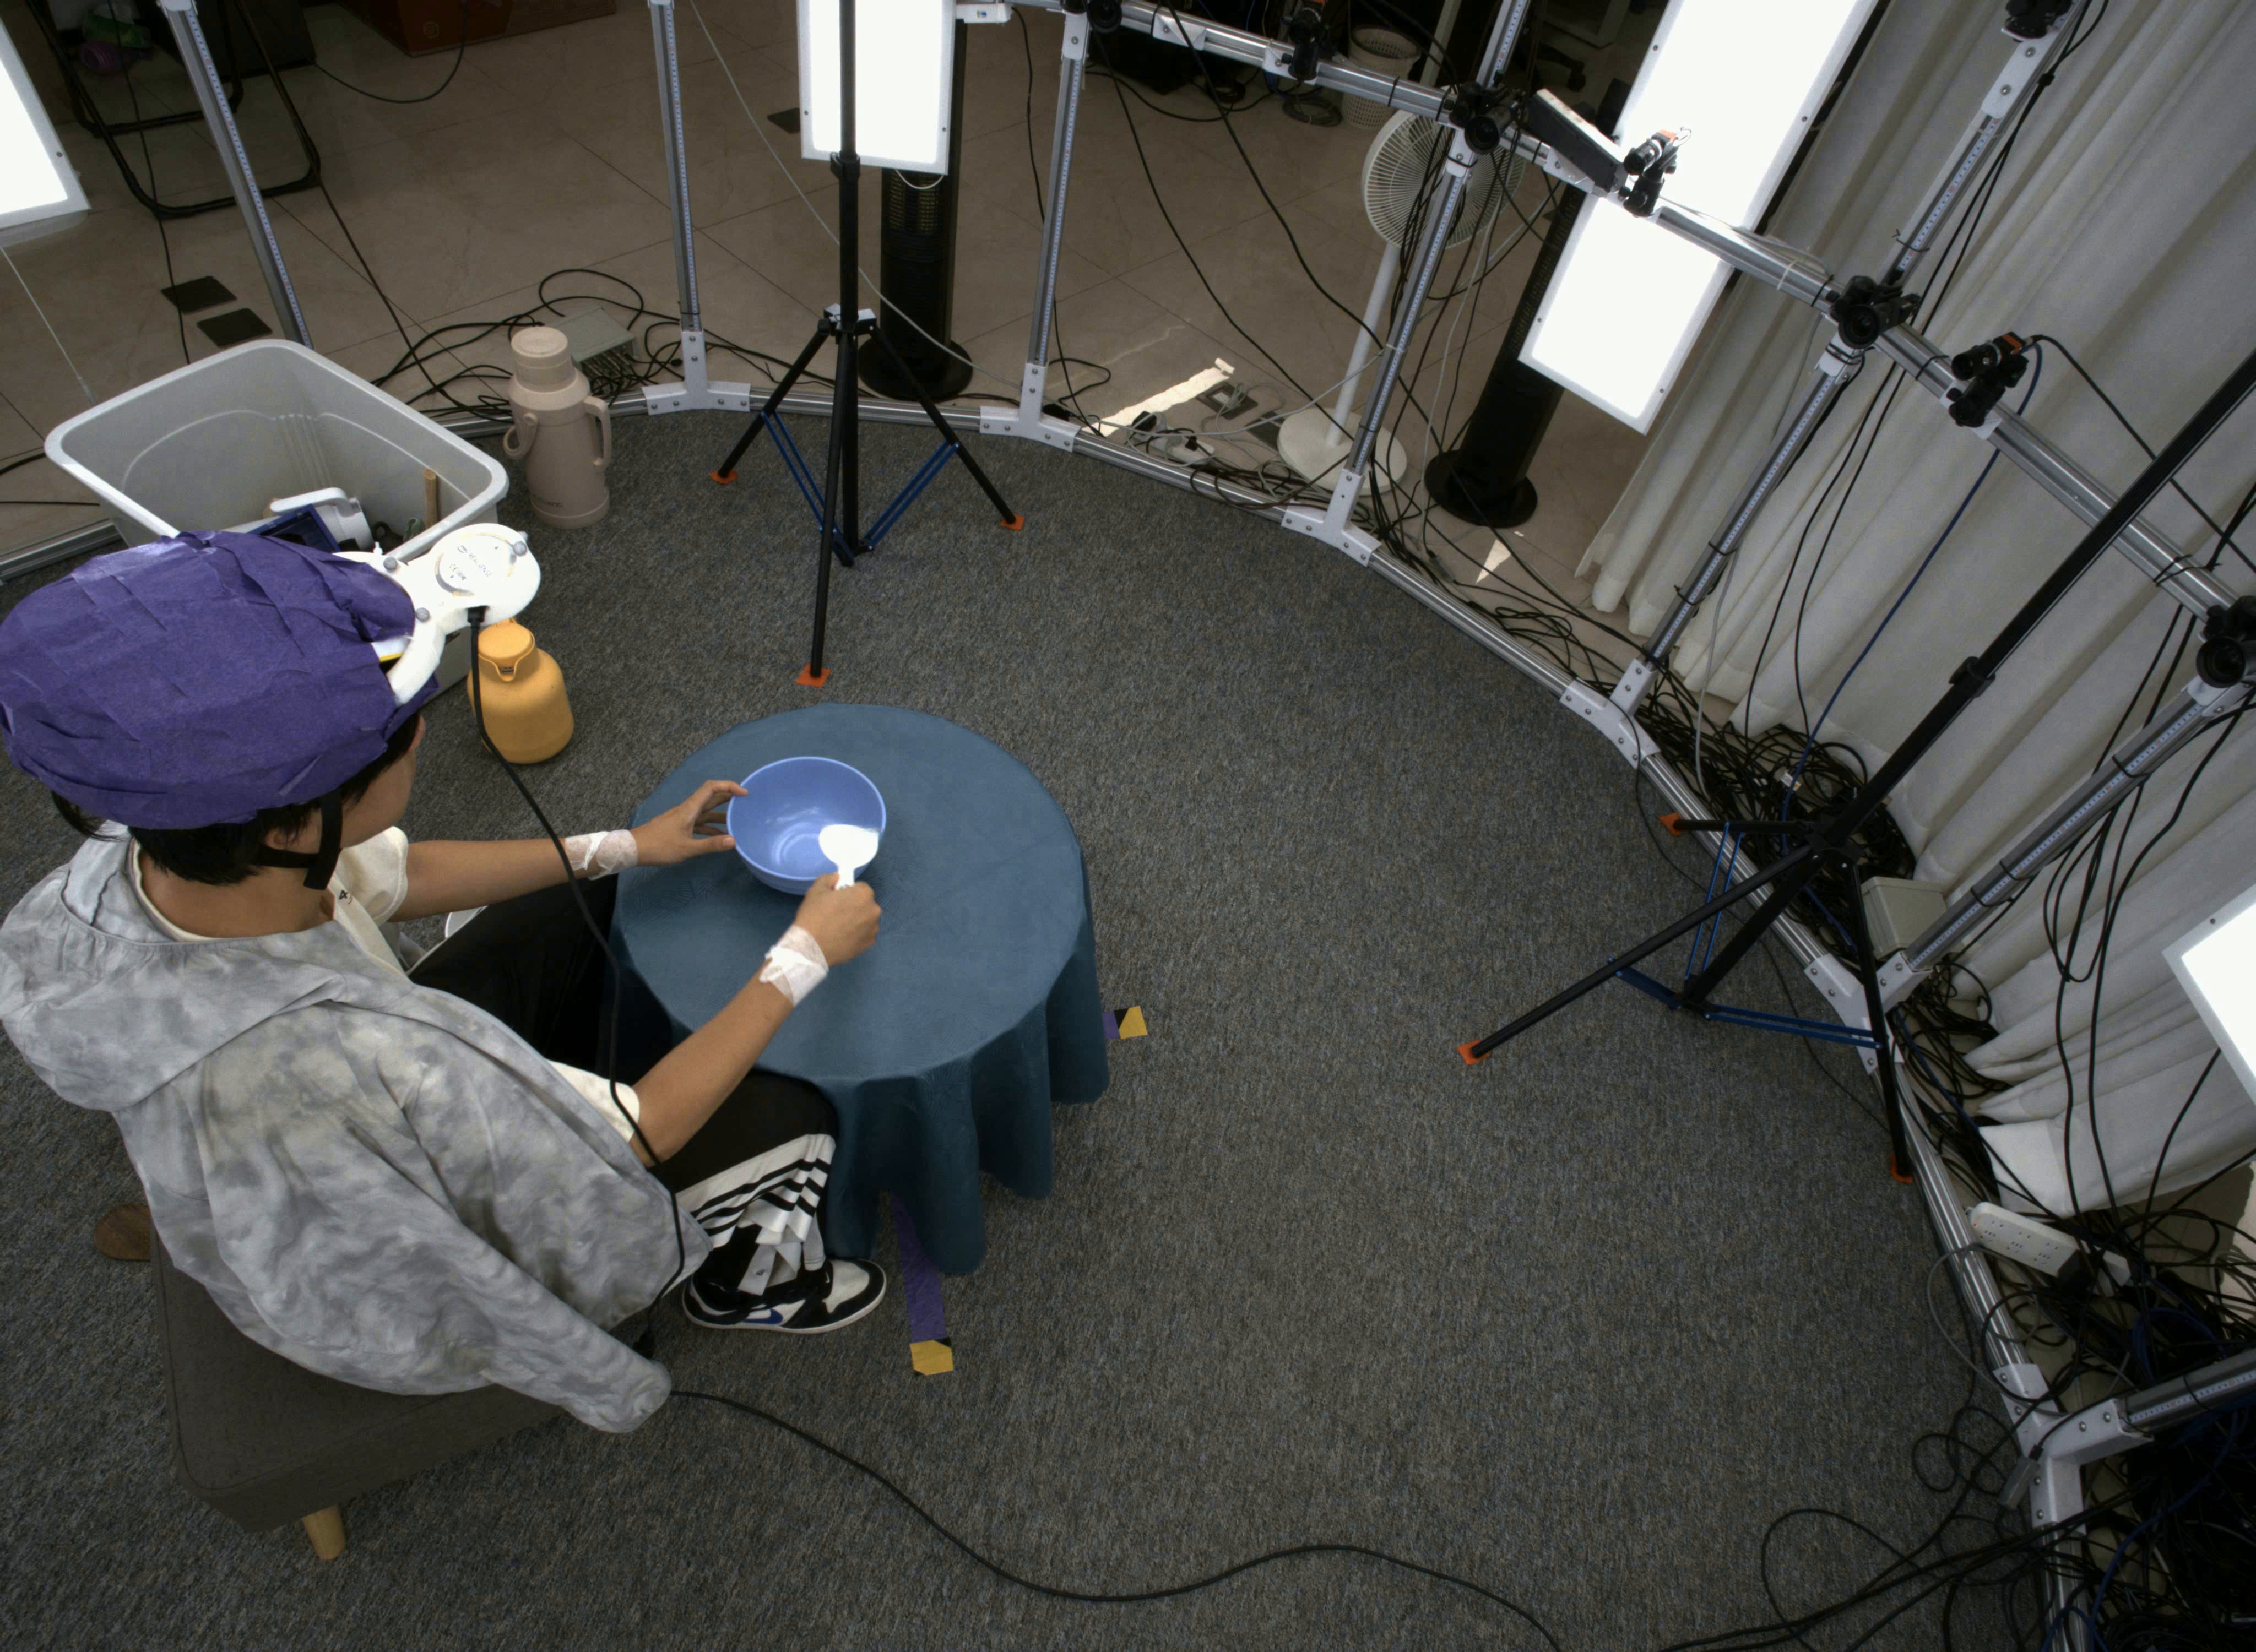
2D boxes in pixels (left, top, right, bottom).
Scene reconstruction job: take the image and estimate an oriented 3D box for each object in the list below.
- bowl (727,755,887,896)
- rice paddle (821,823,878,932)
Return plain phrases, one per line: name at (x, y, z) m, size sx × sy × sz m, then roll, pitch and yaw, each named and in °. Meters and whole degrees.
bowl at (-0.409, 0.014, 1.657) m, size 0.196 × 0.097 × 0.193 m, roll 8°, pitch 52°, yaw -9°
rice paddle at (-0.325, 0.048, 1.500) m, size 0.069 × 0.030 × 0.200 m, roll 13°, pitch 30°, yaw -17°
